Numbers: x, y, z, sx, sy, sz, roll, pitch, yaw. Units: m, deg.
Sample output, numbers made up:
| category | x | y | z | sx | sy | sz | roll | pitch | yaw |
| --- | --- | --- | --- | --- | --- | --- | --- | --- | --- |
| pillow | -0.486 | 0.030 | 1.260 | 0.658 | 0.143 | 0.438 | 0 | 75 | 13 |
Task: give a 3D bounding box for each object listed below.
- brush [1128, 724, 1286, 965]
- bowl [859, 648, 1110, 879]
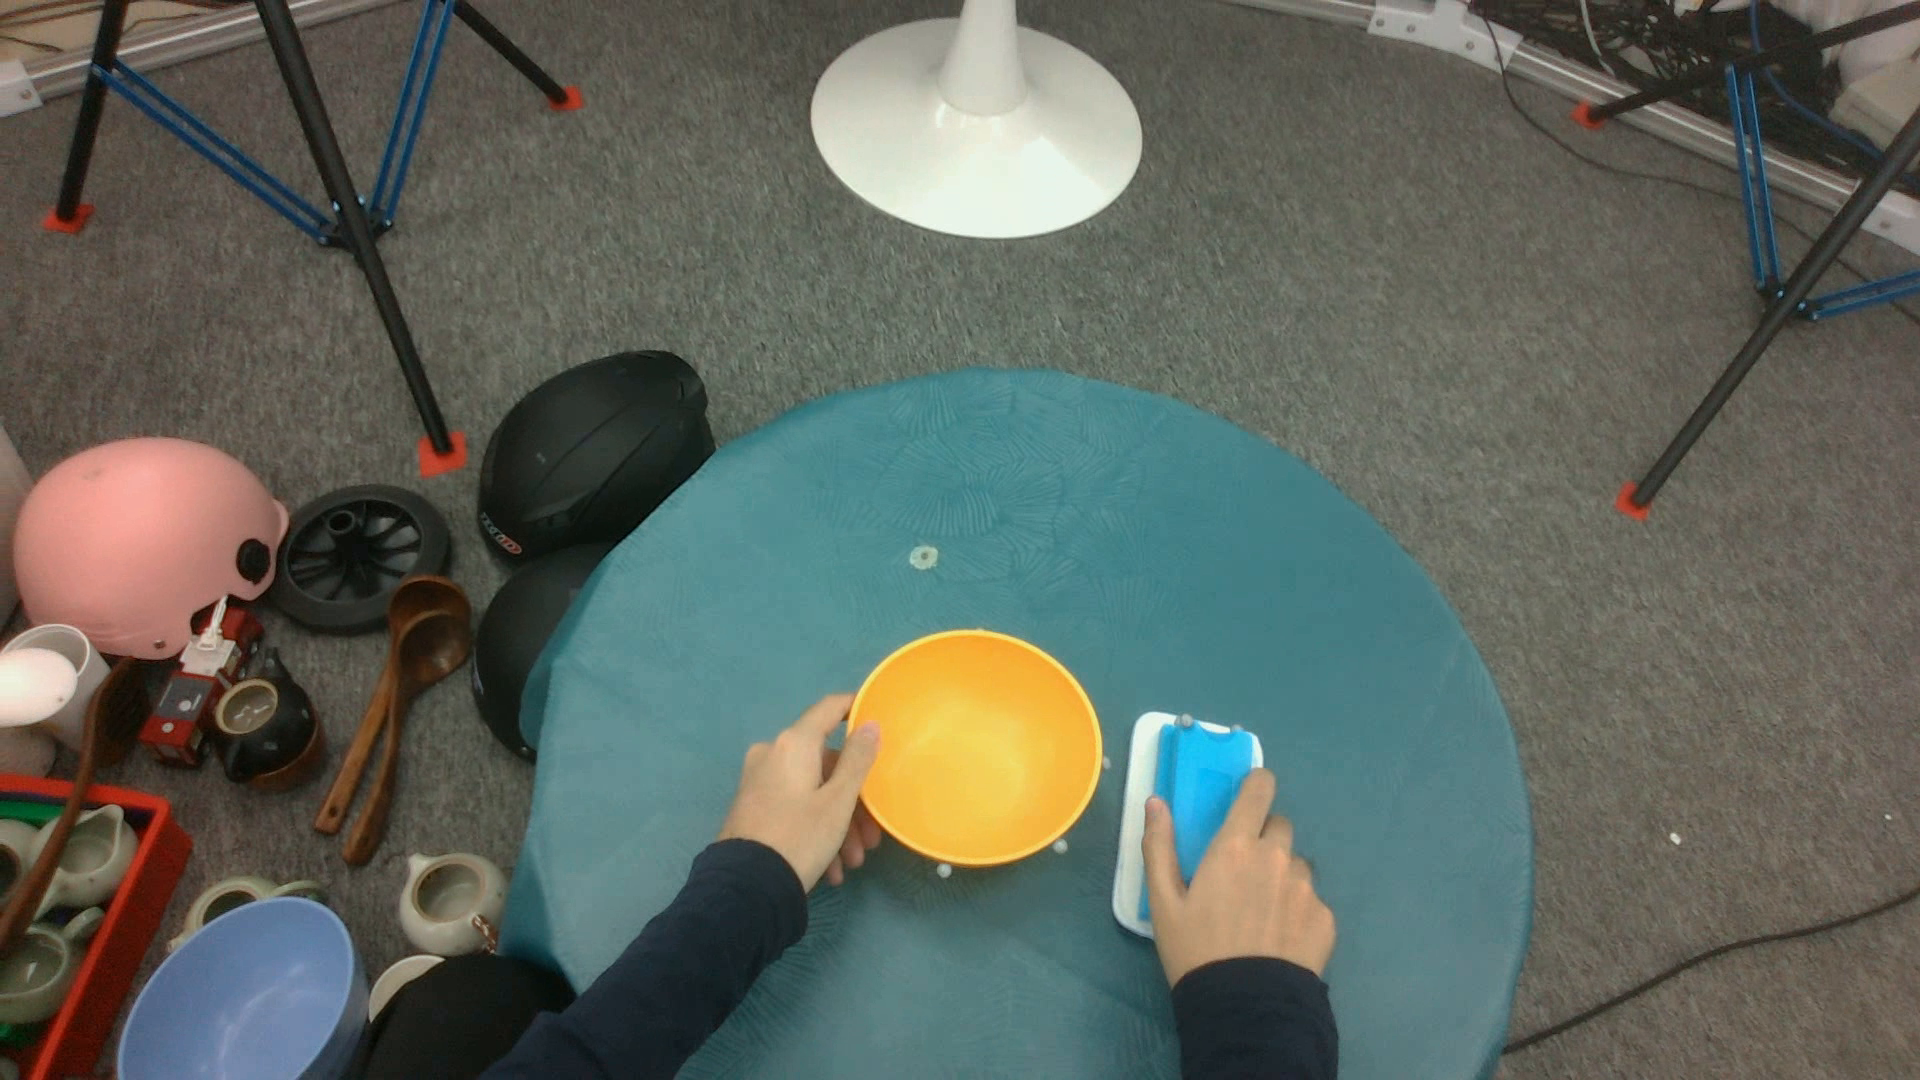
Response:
| category | x | y | z | sx | sy | sz | roll | pitch | yaw |
| --- | --- | --- | --- | --- | --- | --- | --- | --- | --- |
| brush | 0.146 | 0.166 | 0.791 | 0.084 | 0.055 | 0.144 | 10 | 52 | 6 |
| bowl | 0.013 | 0.139 | 0.803 | 0.145 | 0.060 | 0.146 | 2 | 52 | -3 |
